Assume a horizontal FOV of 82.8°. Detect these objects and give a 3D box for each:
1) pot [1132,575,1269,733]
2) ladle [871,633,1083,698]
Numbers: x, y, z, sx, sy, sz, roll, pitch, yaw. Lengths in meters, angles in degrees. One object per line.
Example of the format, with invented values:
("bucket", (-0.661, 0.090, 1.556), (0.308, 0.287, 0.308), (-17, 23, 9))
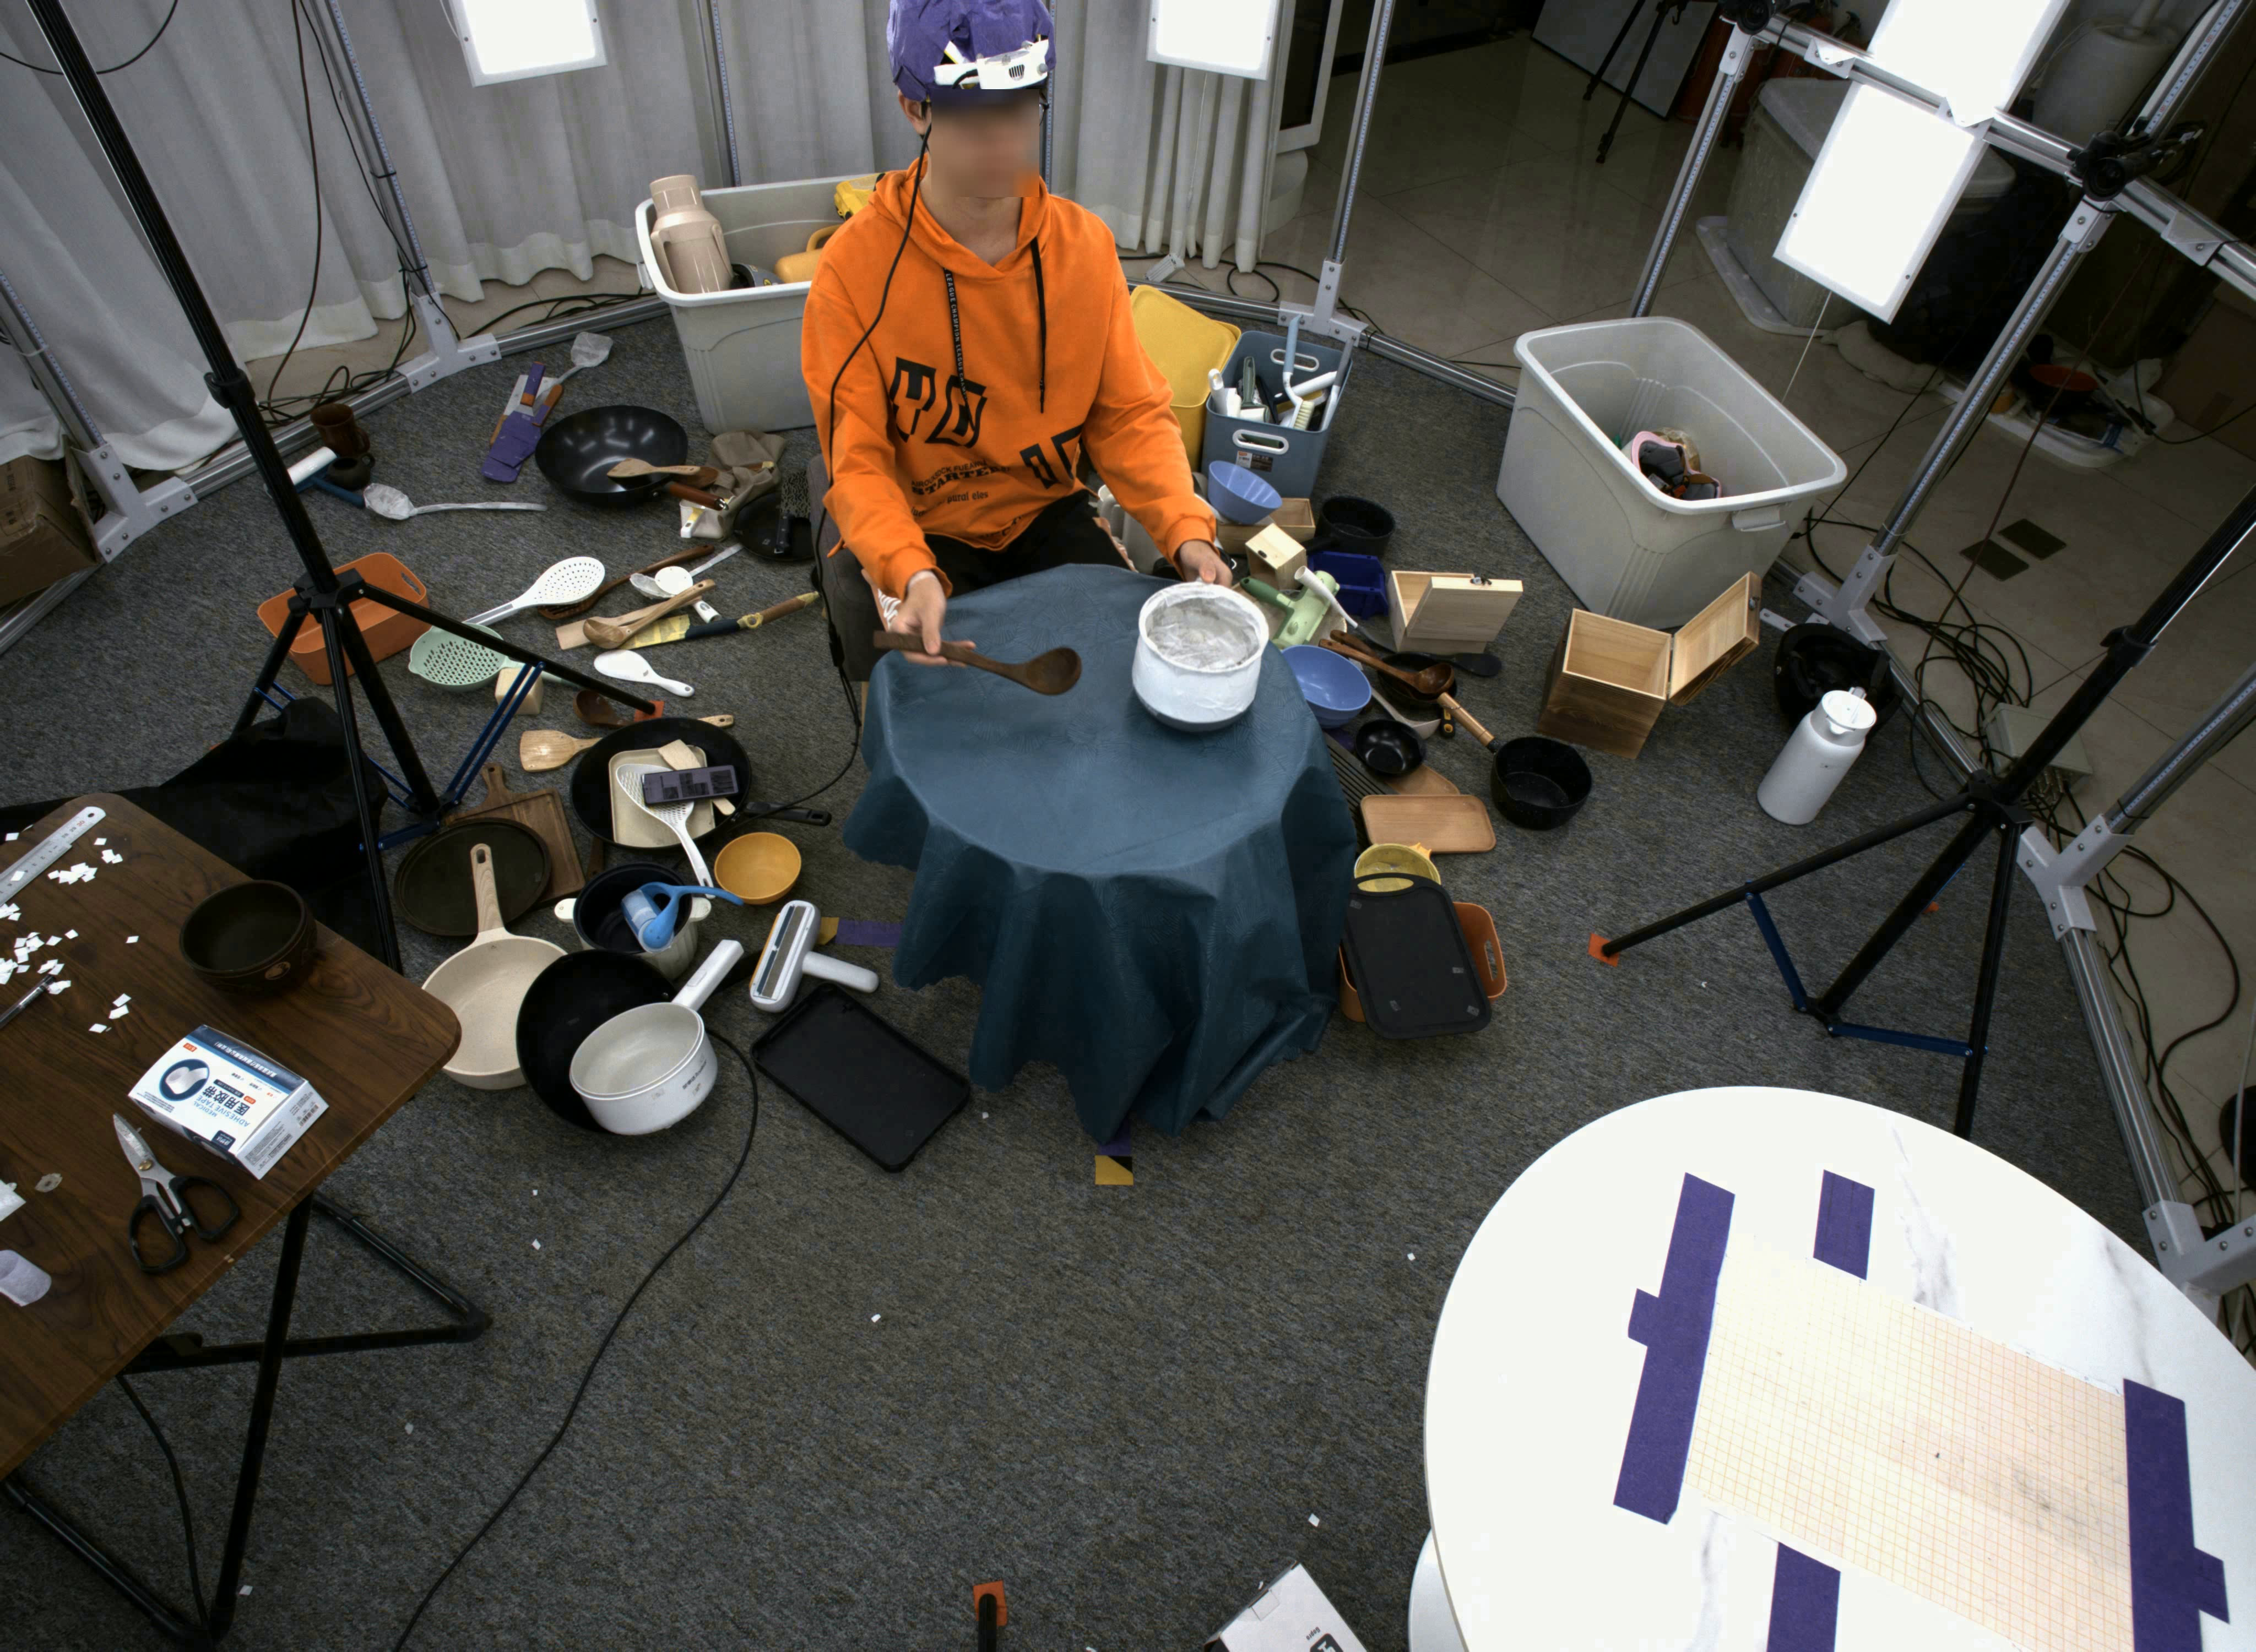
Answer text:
("pot", (0.097, -0.249, 1.790), (0.178, 0.133, 0.239), (5, 50, -3))
("ladle", (-0.195, -0.228, 1.697), (0.272, 0.070, 0.078), (13, 51, -18))
